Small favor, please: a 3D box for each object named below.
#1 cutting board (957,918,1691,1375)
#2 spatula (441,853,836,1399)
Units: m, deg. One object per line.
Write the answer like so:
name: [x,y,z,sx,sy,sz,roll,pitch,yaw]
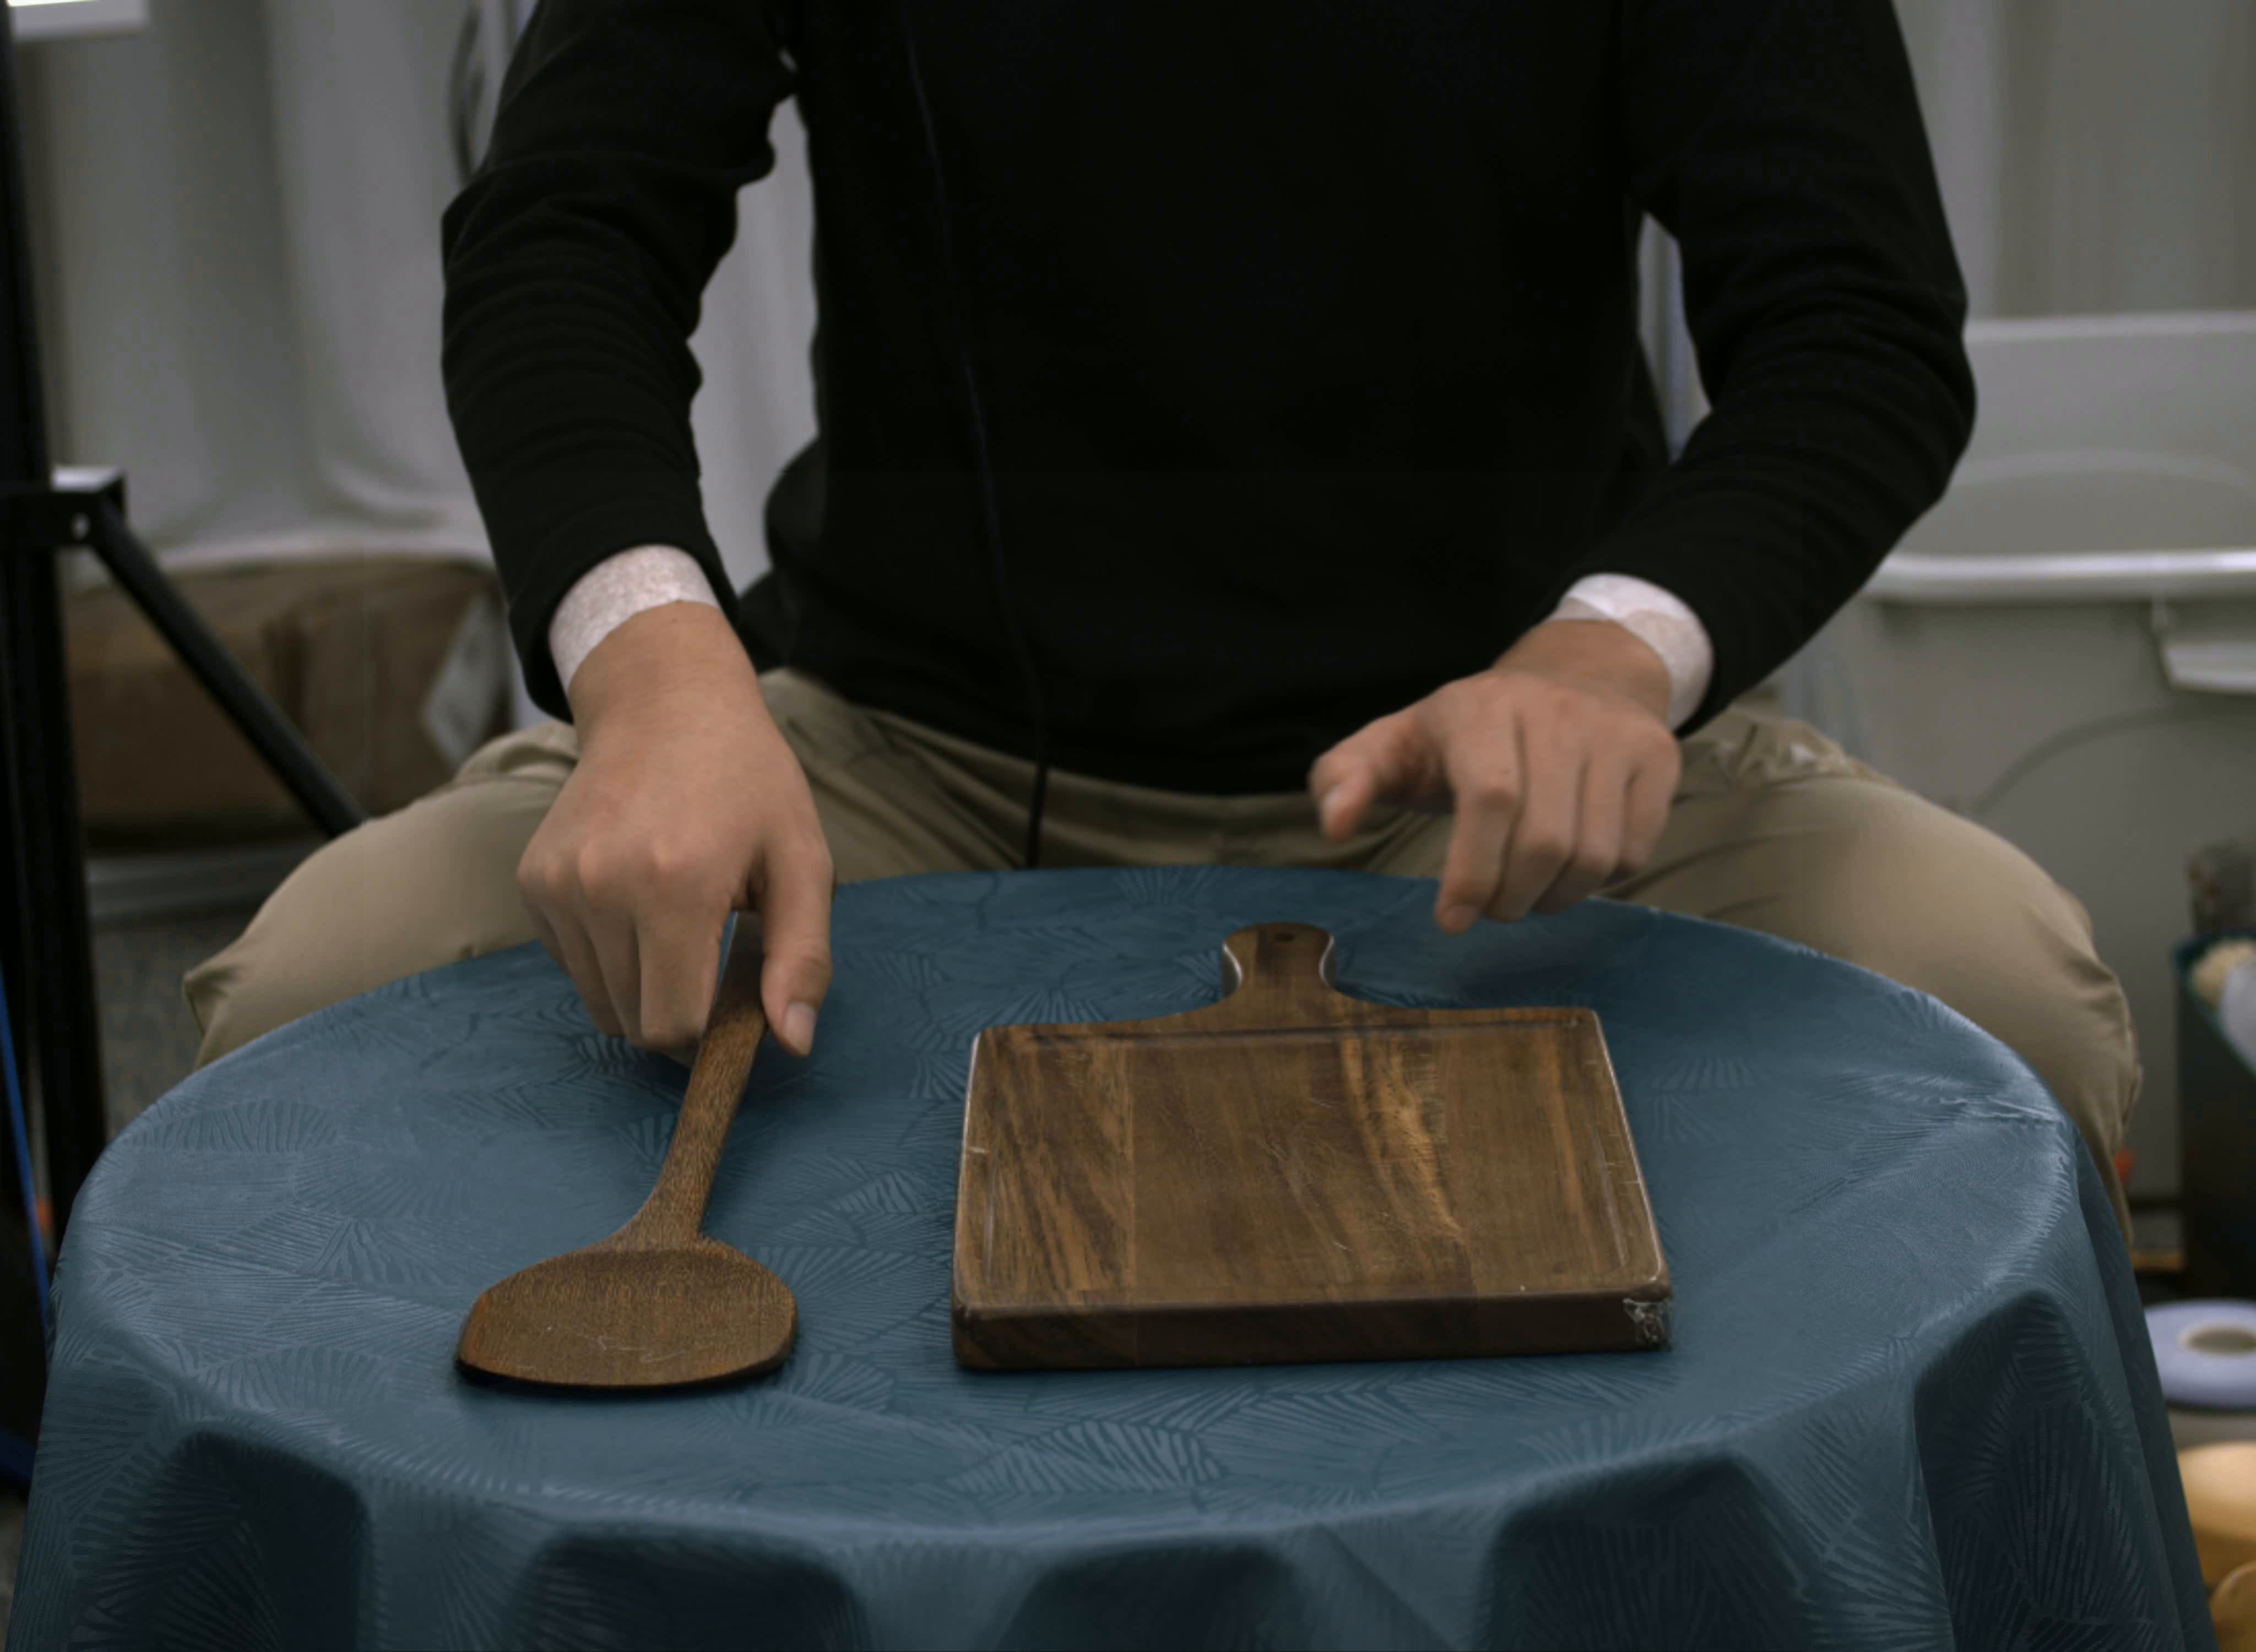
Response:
cutting board: [0.050,0.088,1.582,0.200,0.023,0.353,-2,16,1]
spatula: [-0.125,0.081,1.597,0.096,0.016,0.386,0,22,5]
